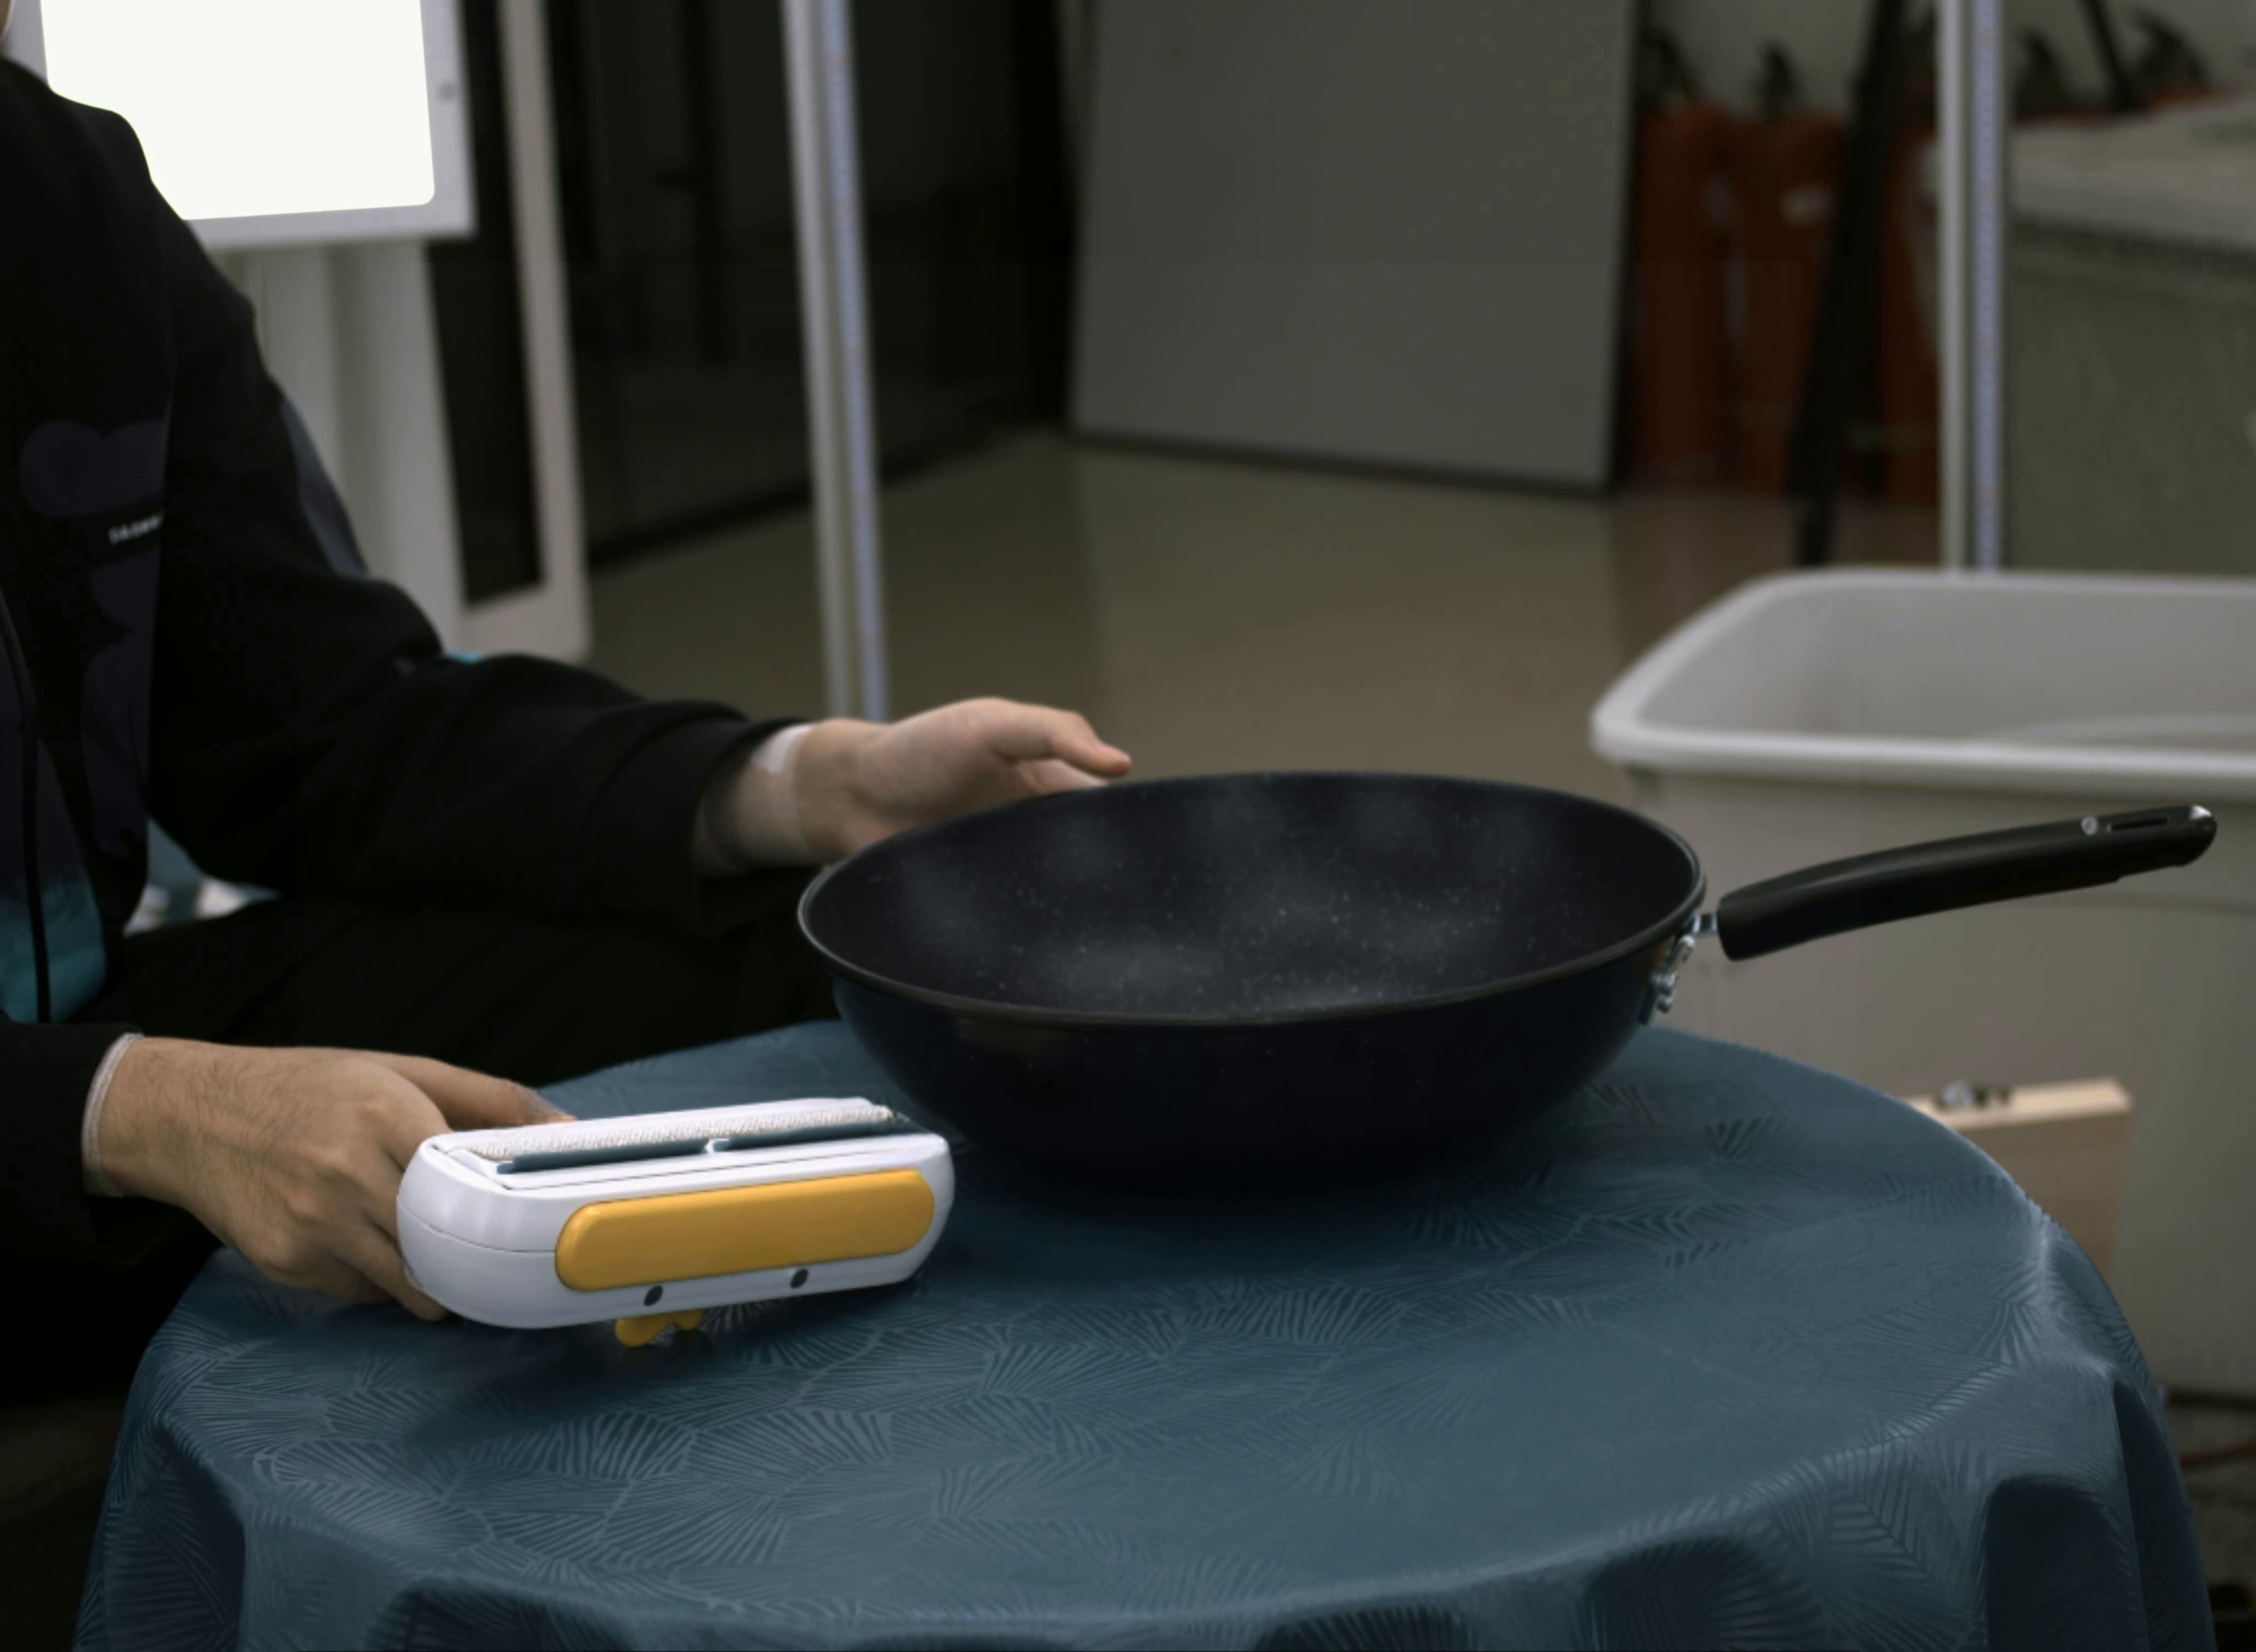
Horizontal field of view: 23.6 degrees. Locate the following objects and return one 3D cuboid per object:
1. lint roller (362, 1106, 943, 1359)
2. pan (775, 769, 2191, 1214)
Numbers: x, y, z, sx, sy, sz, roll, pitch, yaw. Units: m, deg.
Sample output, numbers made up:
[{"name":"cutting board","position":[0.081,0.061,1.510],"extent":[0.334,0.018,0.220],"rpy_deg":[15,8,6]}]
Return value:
[{"name":"lint roller","position":[-0.177,0.118,1.694],"extent":[0.188,0.075,0.194],"rpy_deg":[-8,11,-37]},{"name":"pan","position":[0.116,0.050,1.798],"extent":[0.475,0.113,0.308],"rpy_deg":[-1,16,16]}]
